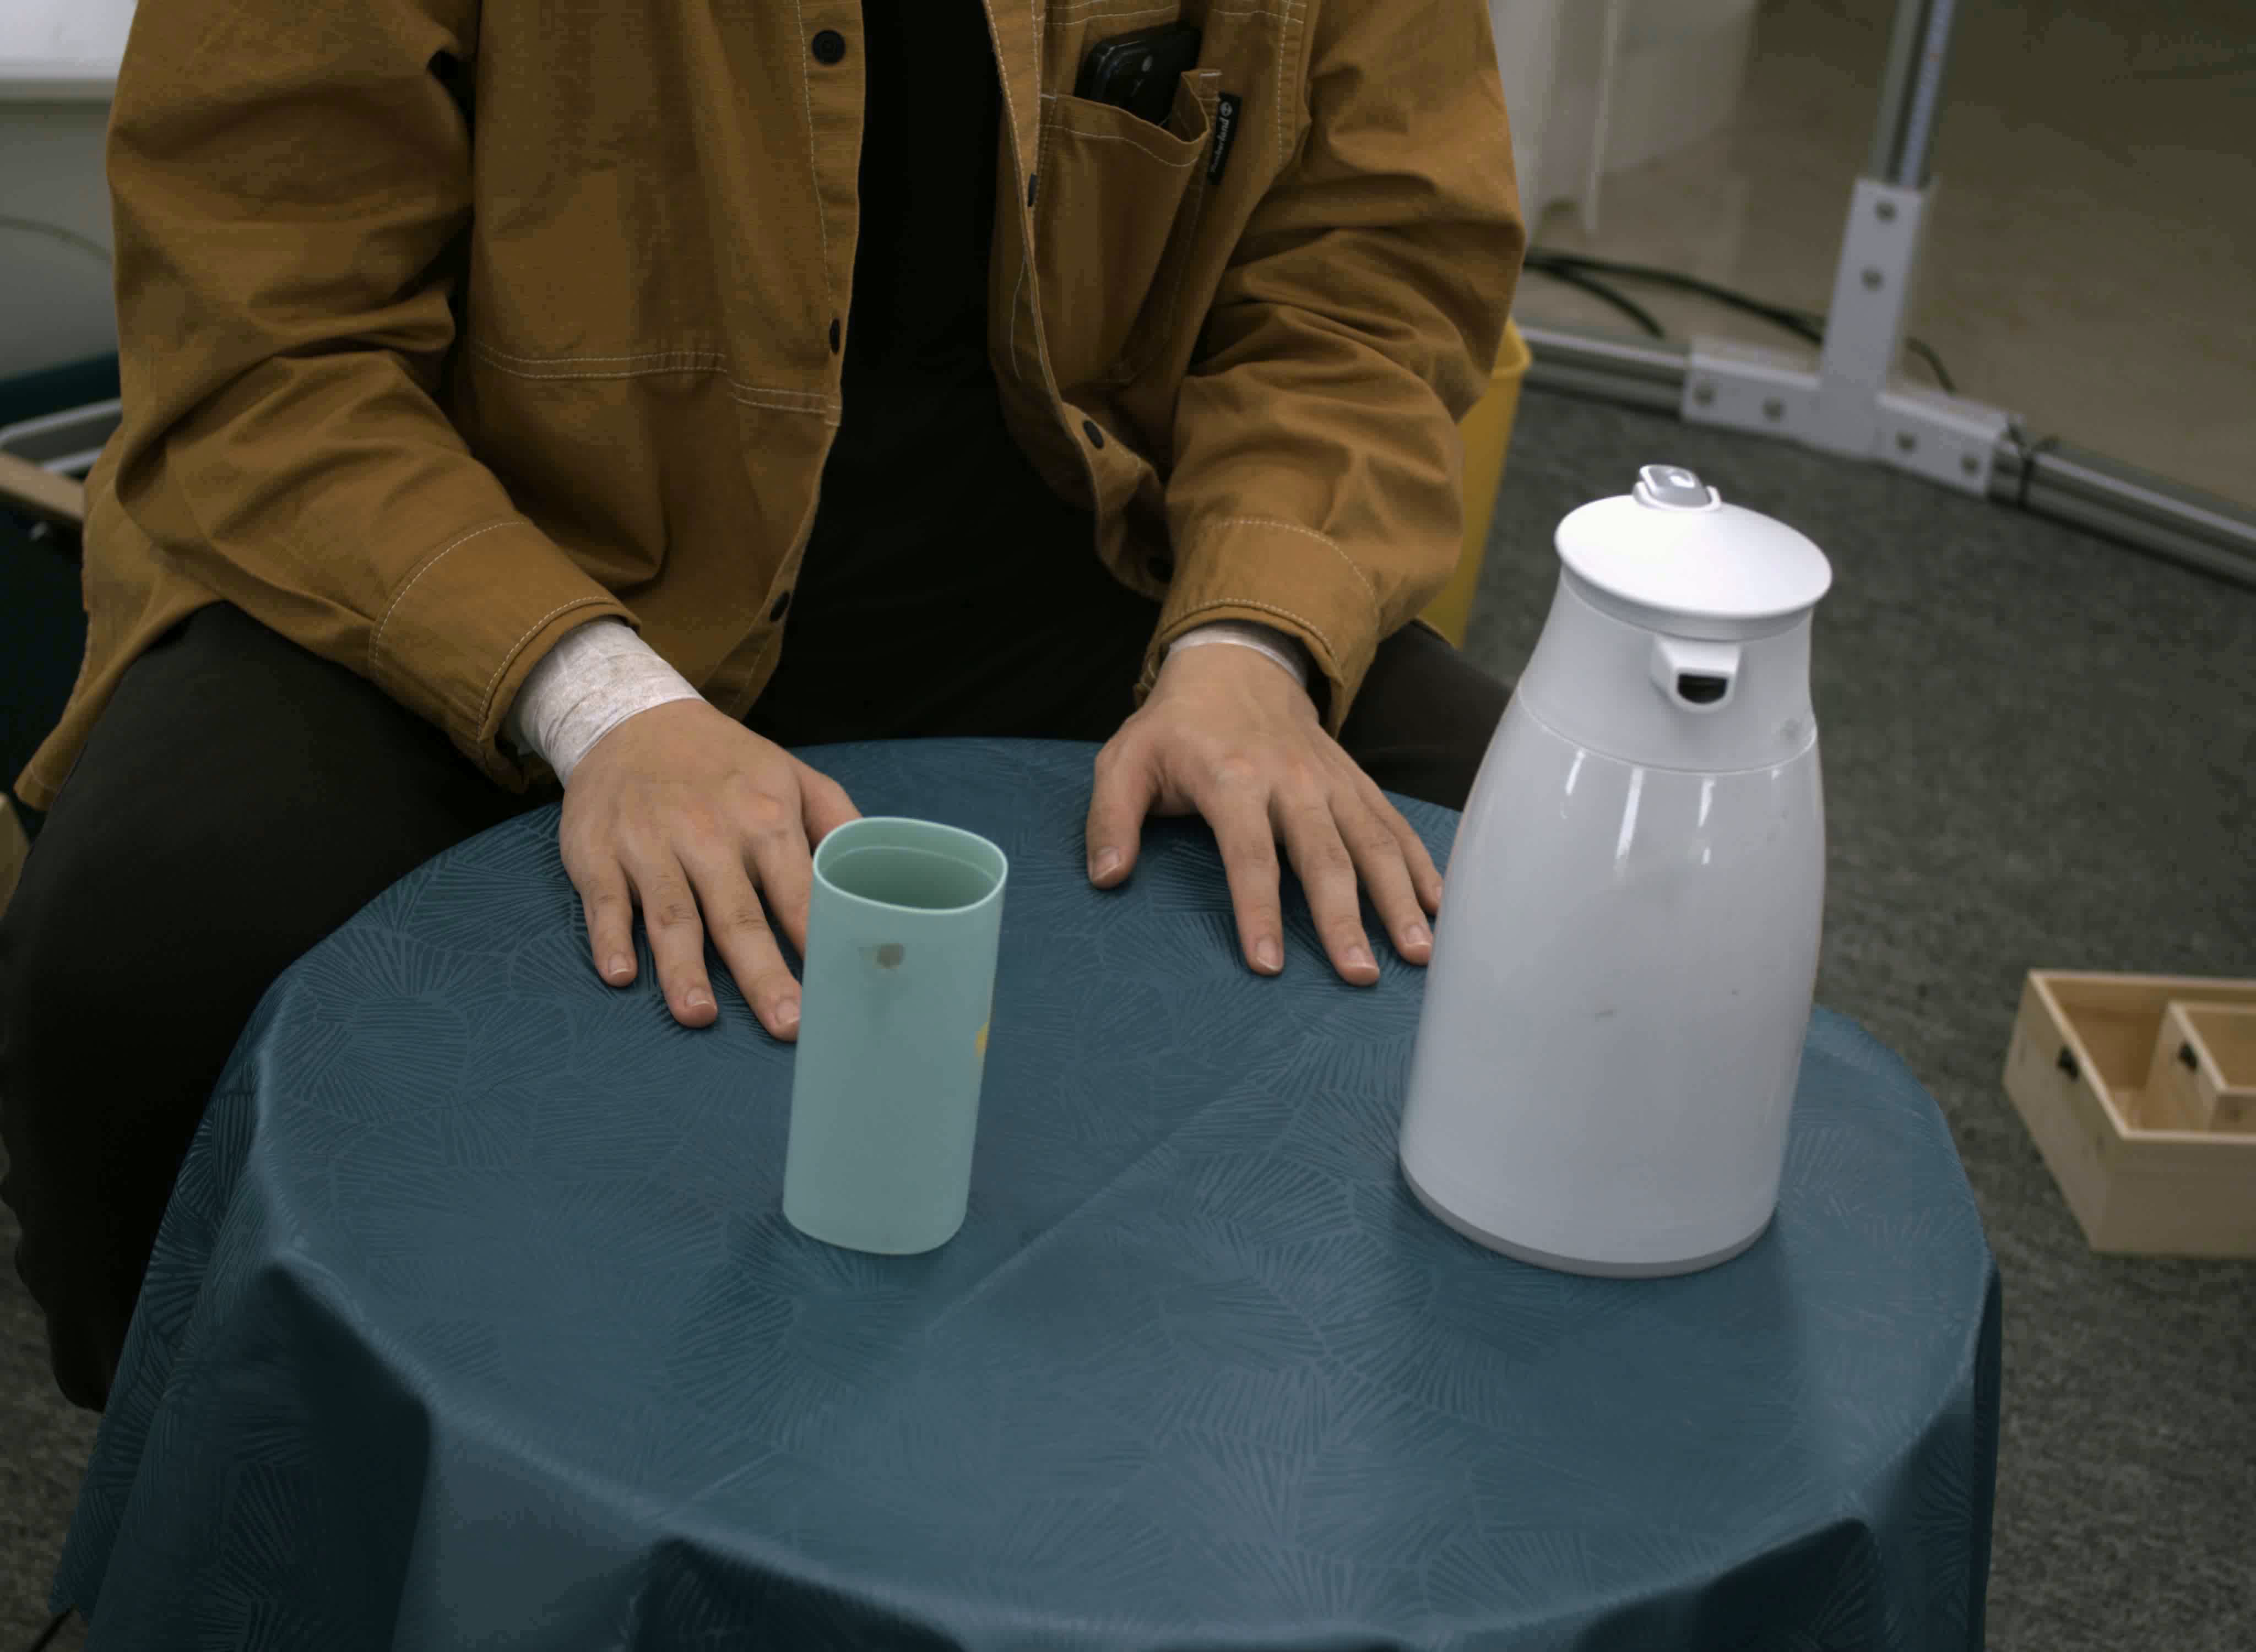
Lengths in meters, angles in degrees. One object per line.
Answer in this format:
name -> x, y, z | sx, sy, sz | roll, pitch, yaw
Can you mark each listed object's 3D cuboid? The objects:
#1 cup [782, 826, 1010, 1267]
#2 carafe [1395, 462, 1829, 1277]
cup -> -0.079, 0.072, 1.753 | 0.066, 0.132, 0.067 | 5, 26, -3
carafe -> 0.169, 0.004, 1.806 | 0.132, 0.248, 0.169 | 5, 26, -3
